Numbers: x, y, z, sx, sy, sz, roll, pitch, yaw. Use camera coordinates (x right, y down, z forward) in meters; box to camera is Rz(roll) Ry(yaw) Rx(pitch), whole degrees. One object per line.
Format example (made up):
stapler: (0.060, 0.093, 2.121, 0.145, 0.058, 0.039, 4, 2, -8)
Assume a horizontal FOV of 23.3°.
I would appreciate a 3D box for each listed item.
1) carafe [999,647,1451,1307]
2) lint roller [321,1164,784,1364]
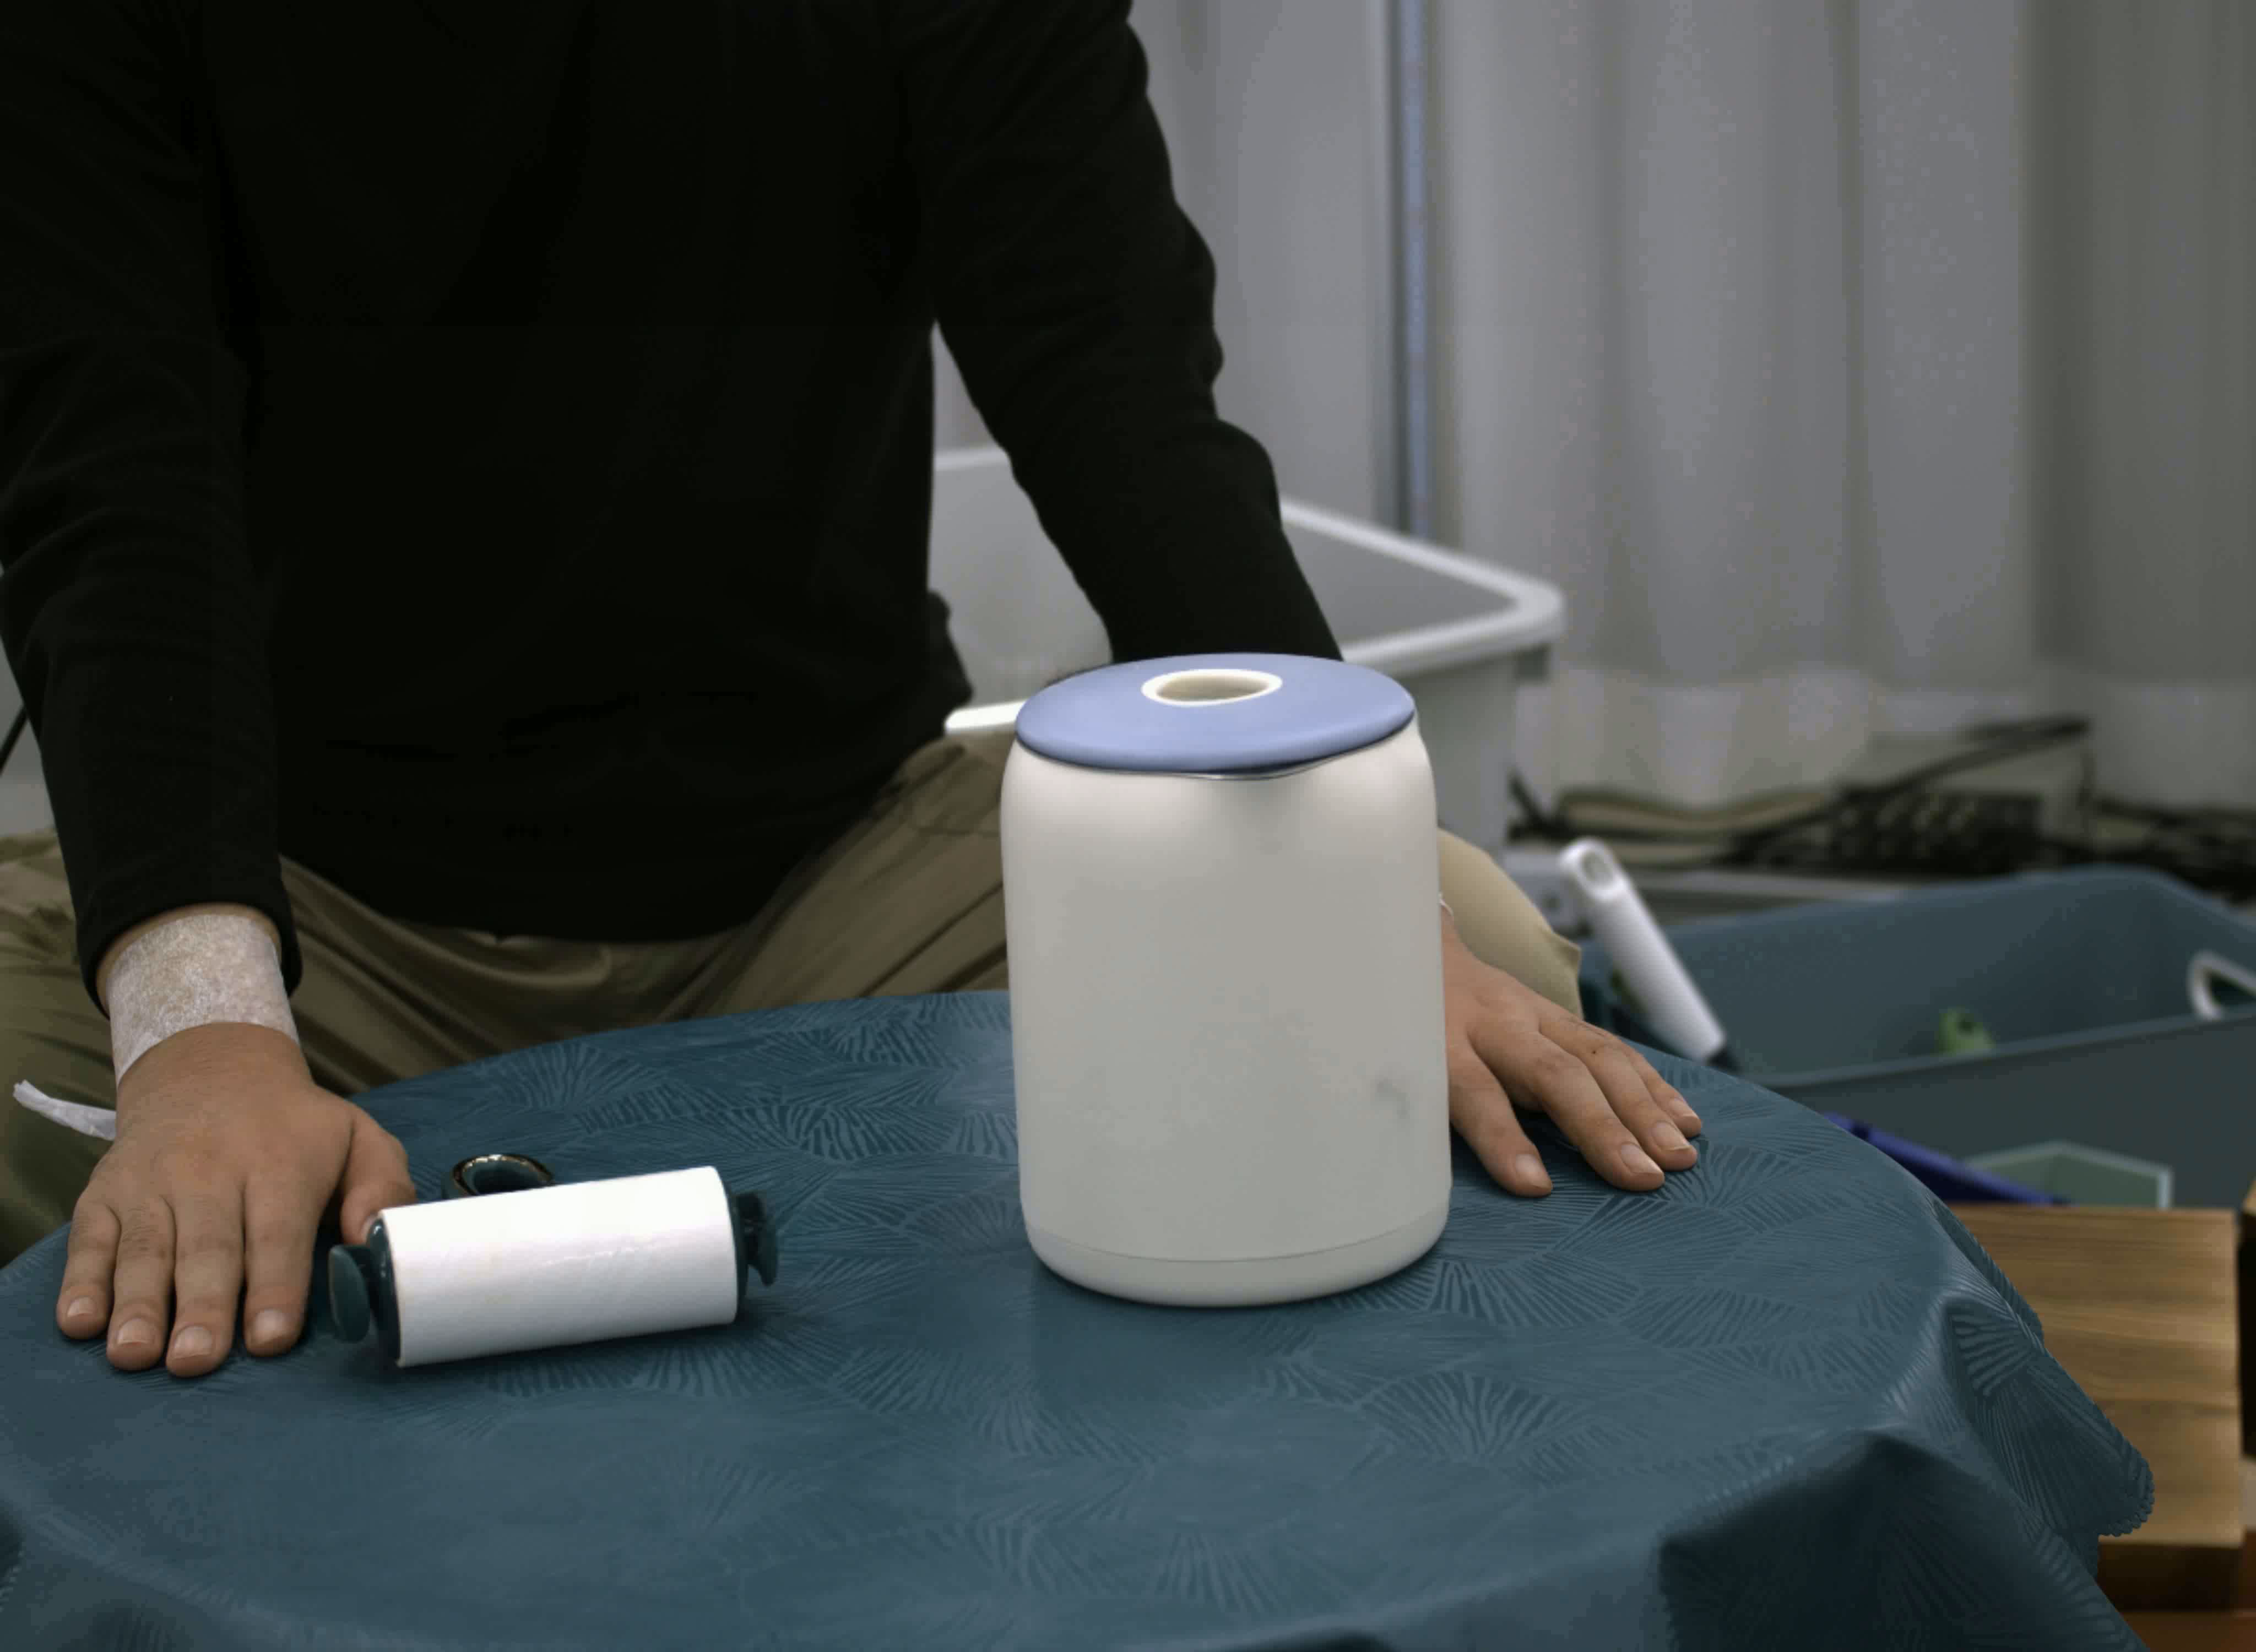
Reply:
carafe: (0.023, 0.039, 1.664, 0.131, 0.182, 0.192, -5, 12, -13)
lint roller: (-0.185, 0.116, 1.665, 0.134, 0.048, 0.181, -6, 13, -14)
